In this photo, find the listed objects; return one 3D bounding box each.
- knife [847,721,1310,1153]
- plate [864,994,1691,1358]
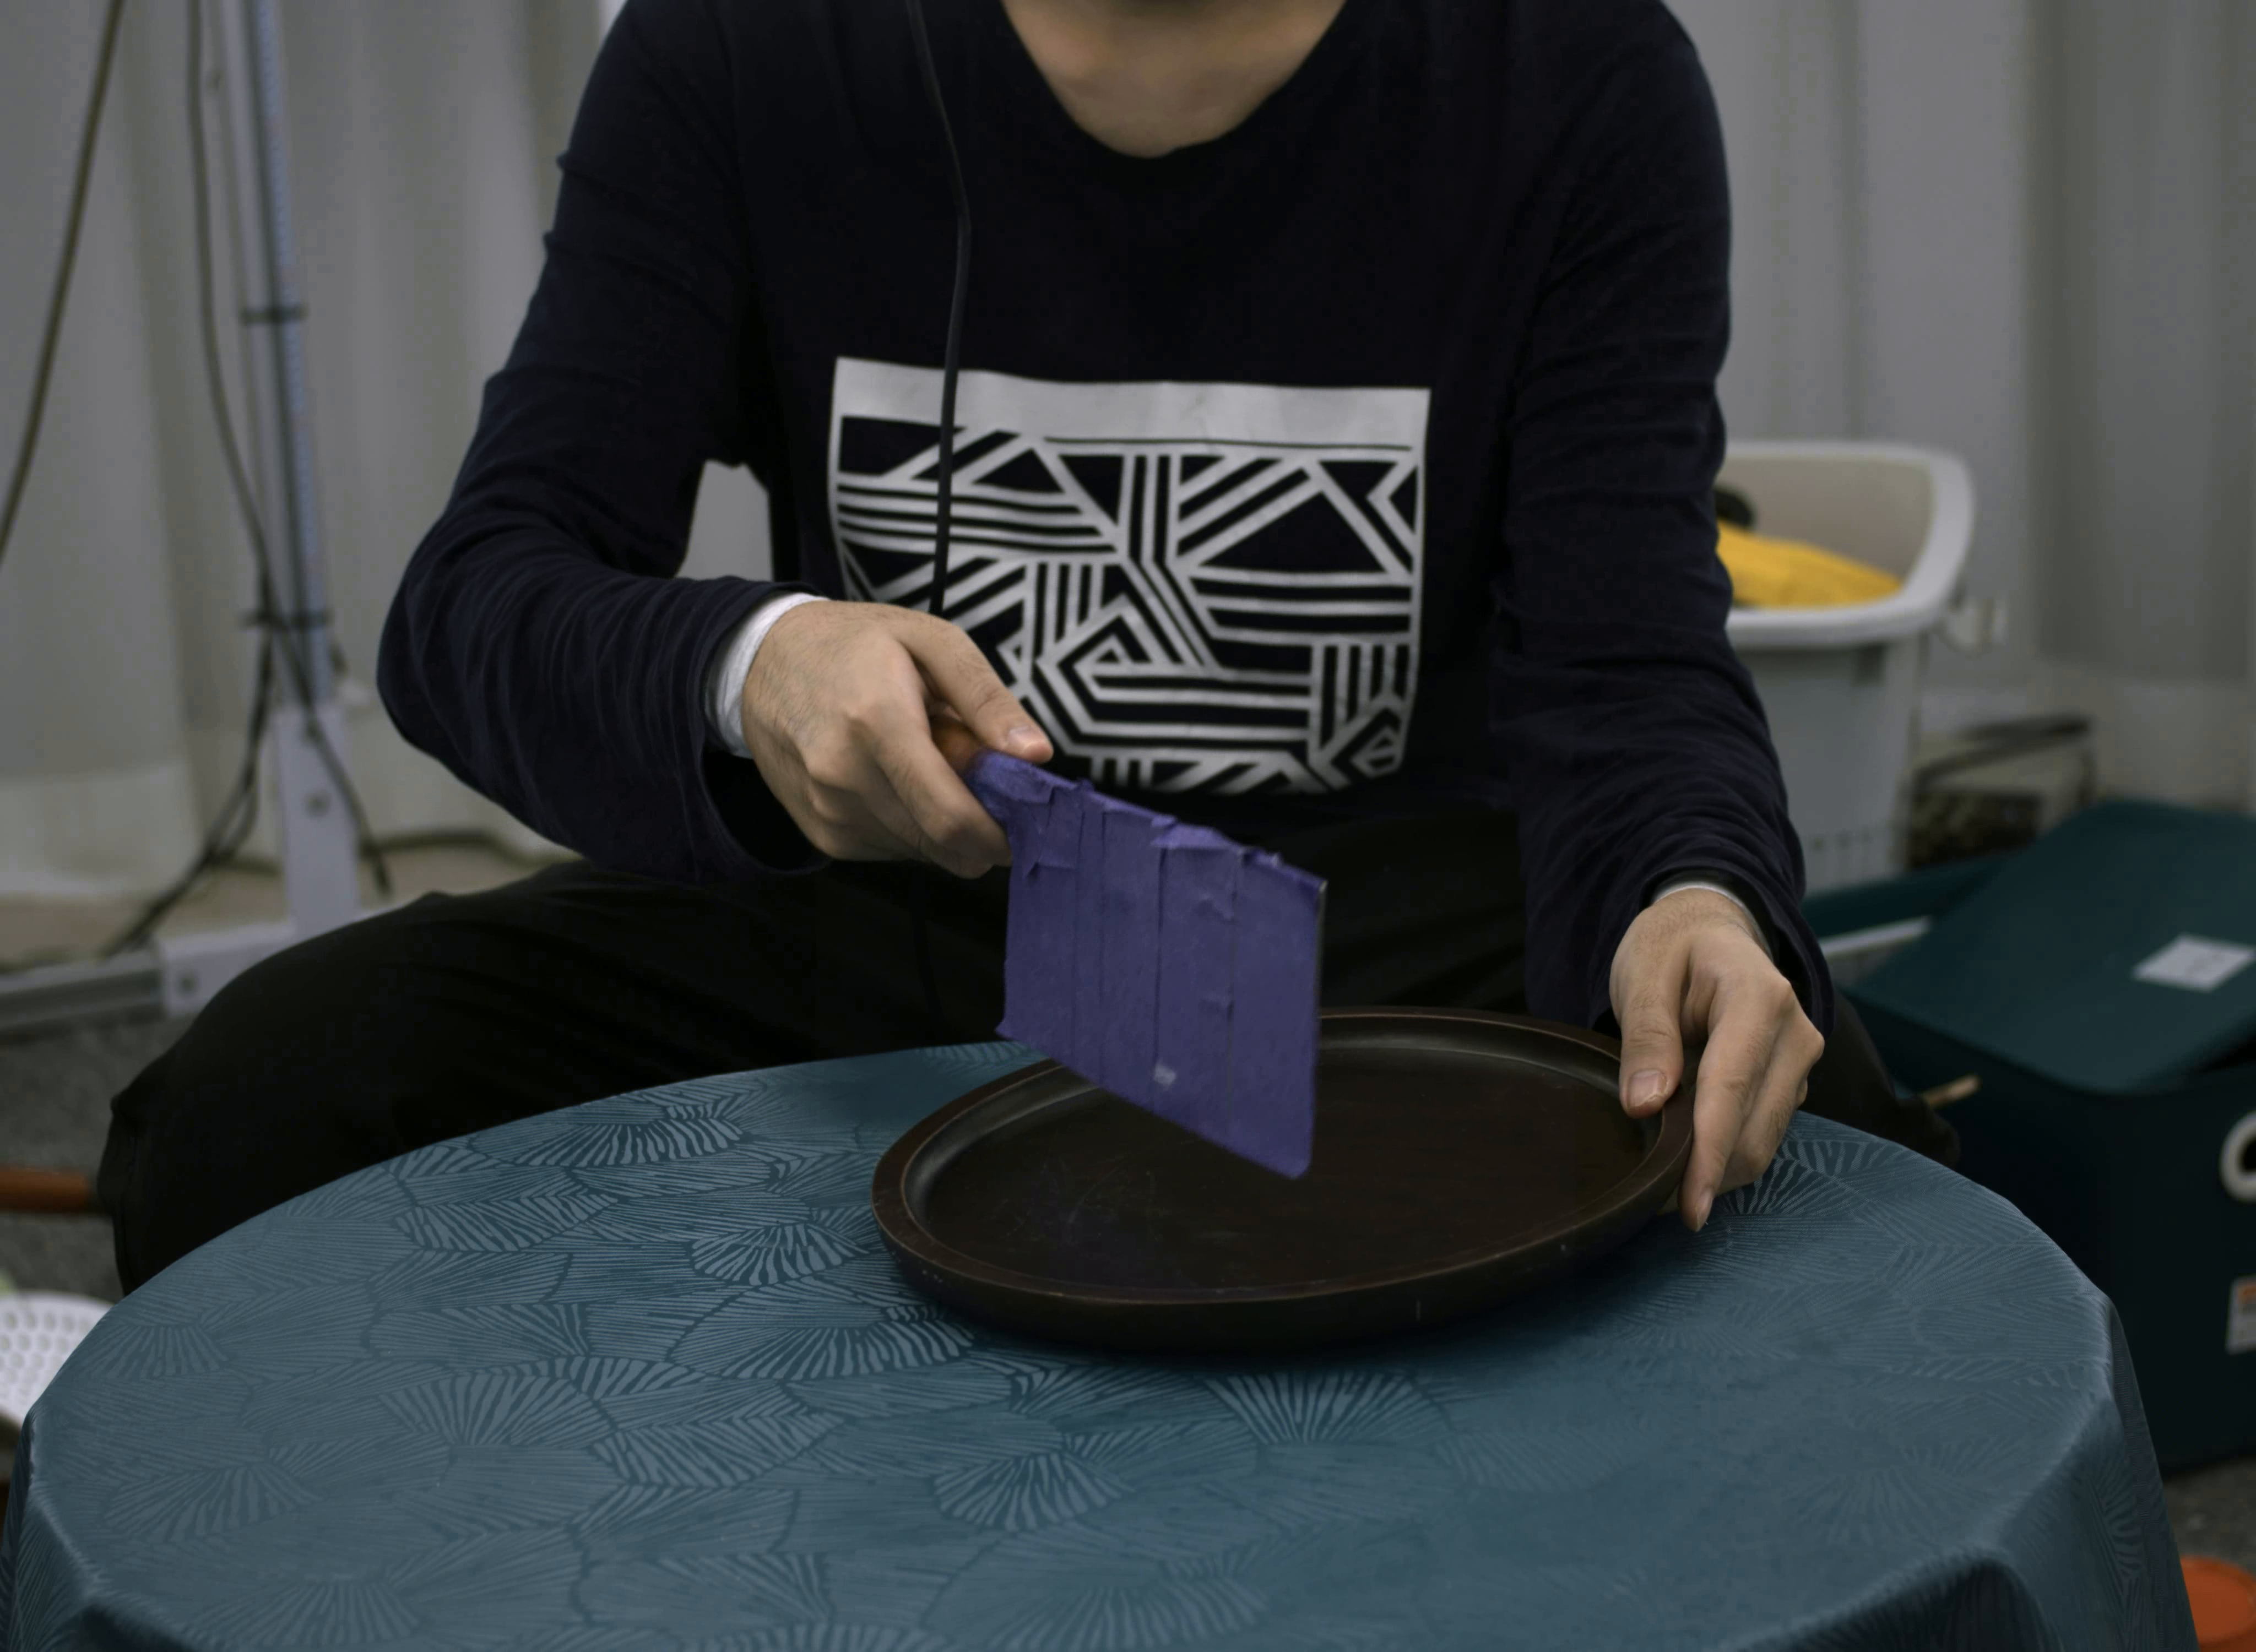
[{"bbox_3d":[-0.020,0.033,1.695,0.032,0.104,0.317,1,9,-24],"label":"knife"},{"bbox_3d":[0.046,0.106,1.667,0.254,0.029,0.257,-7,16,2],"label":"plate"}]
